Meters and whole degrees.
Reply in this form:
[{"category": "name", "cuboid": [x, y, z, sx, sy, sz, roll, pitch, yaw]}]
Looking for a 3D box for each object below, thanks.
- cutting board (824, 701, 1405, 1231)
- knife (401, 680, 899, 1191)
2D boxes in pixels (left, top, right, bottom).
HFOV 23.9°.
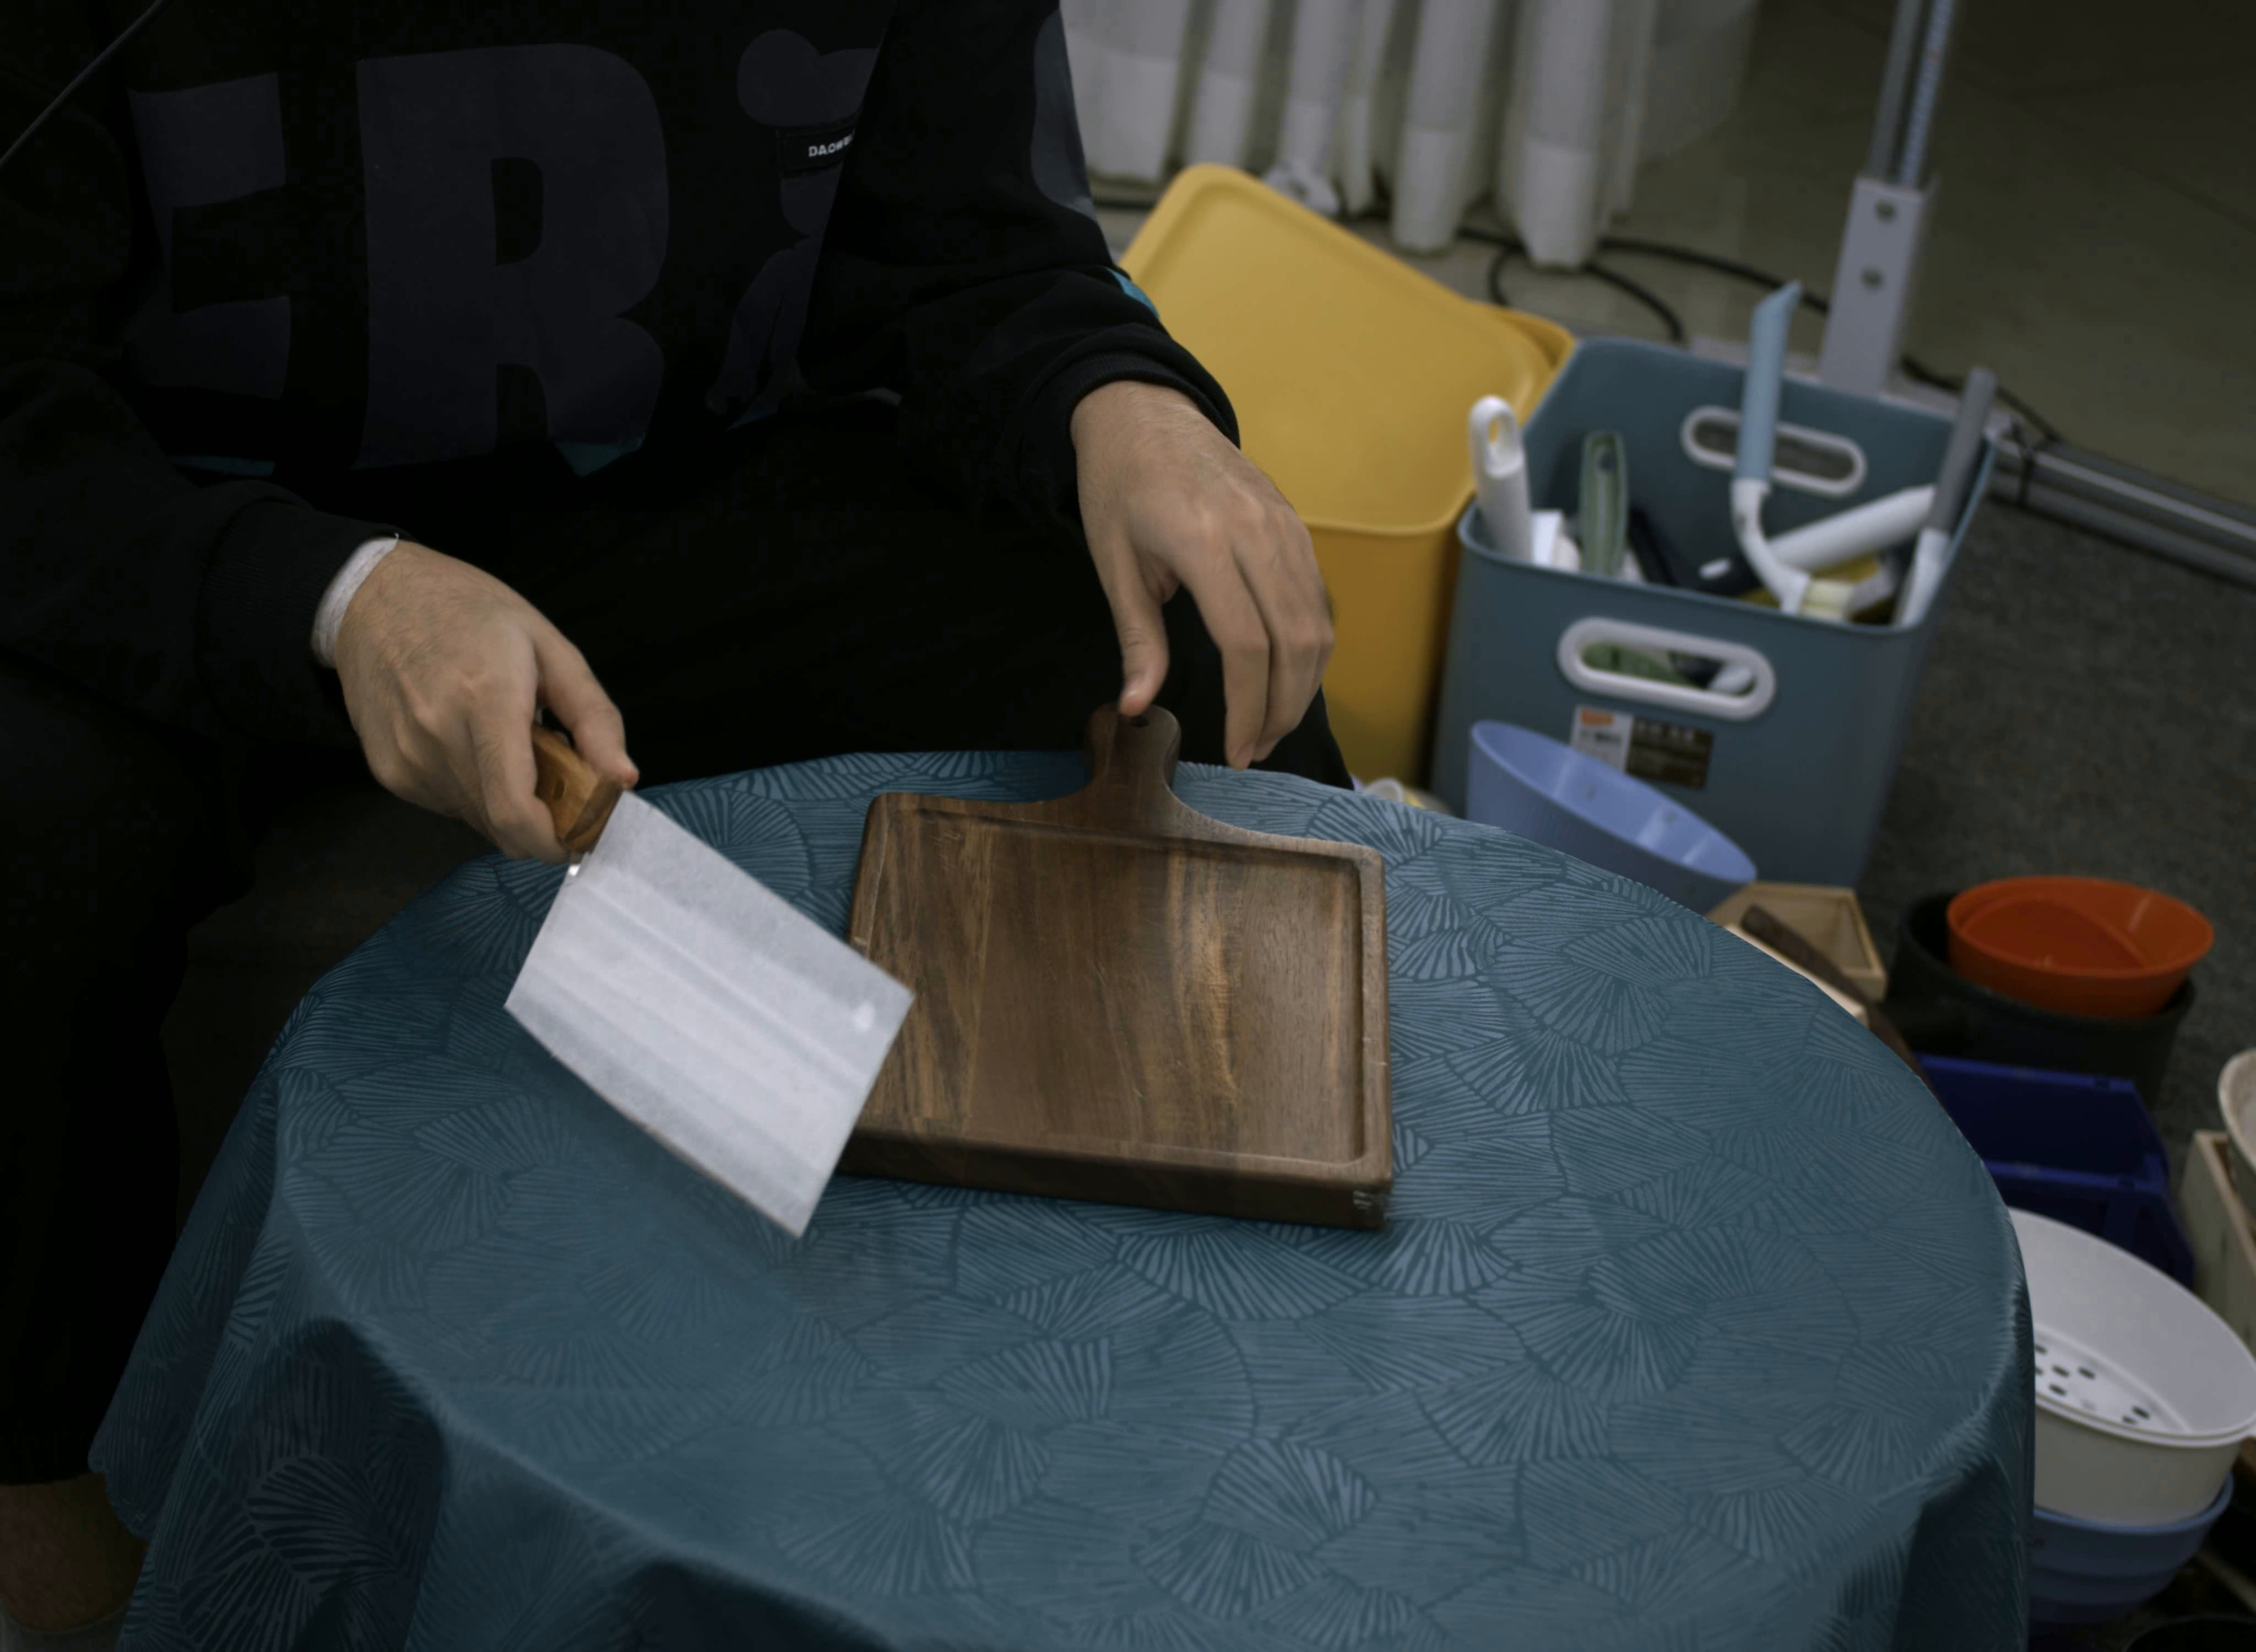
[{"category": "cutting board", "cuboid": [-0.003, 0.040, 1.942, 0.200, 0.023, 0.354, 6, 27, -2]}, {"category": "knife", "cuboid": [-0.175, 0.037, 1.805, 0.021, 0.093, 0.308, 19, 9, -42]}]
